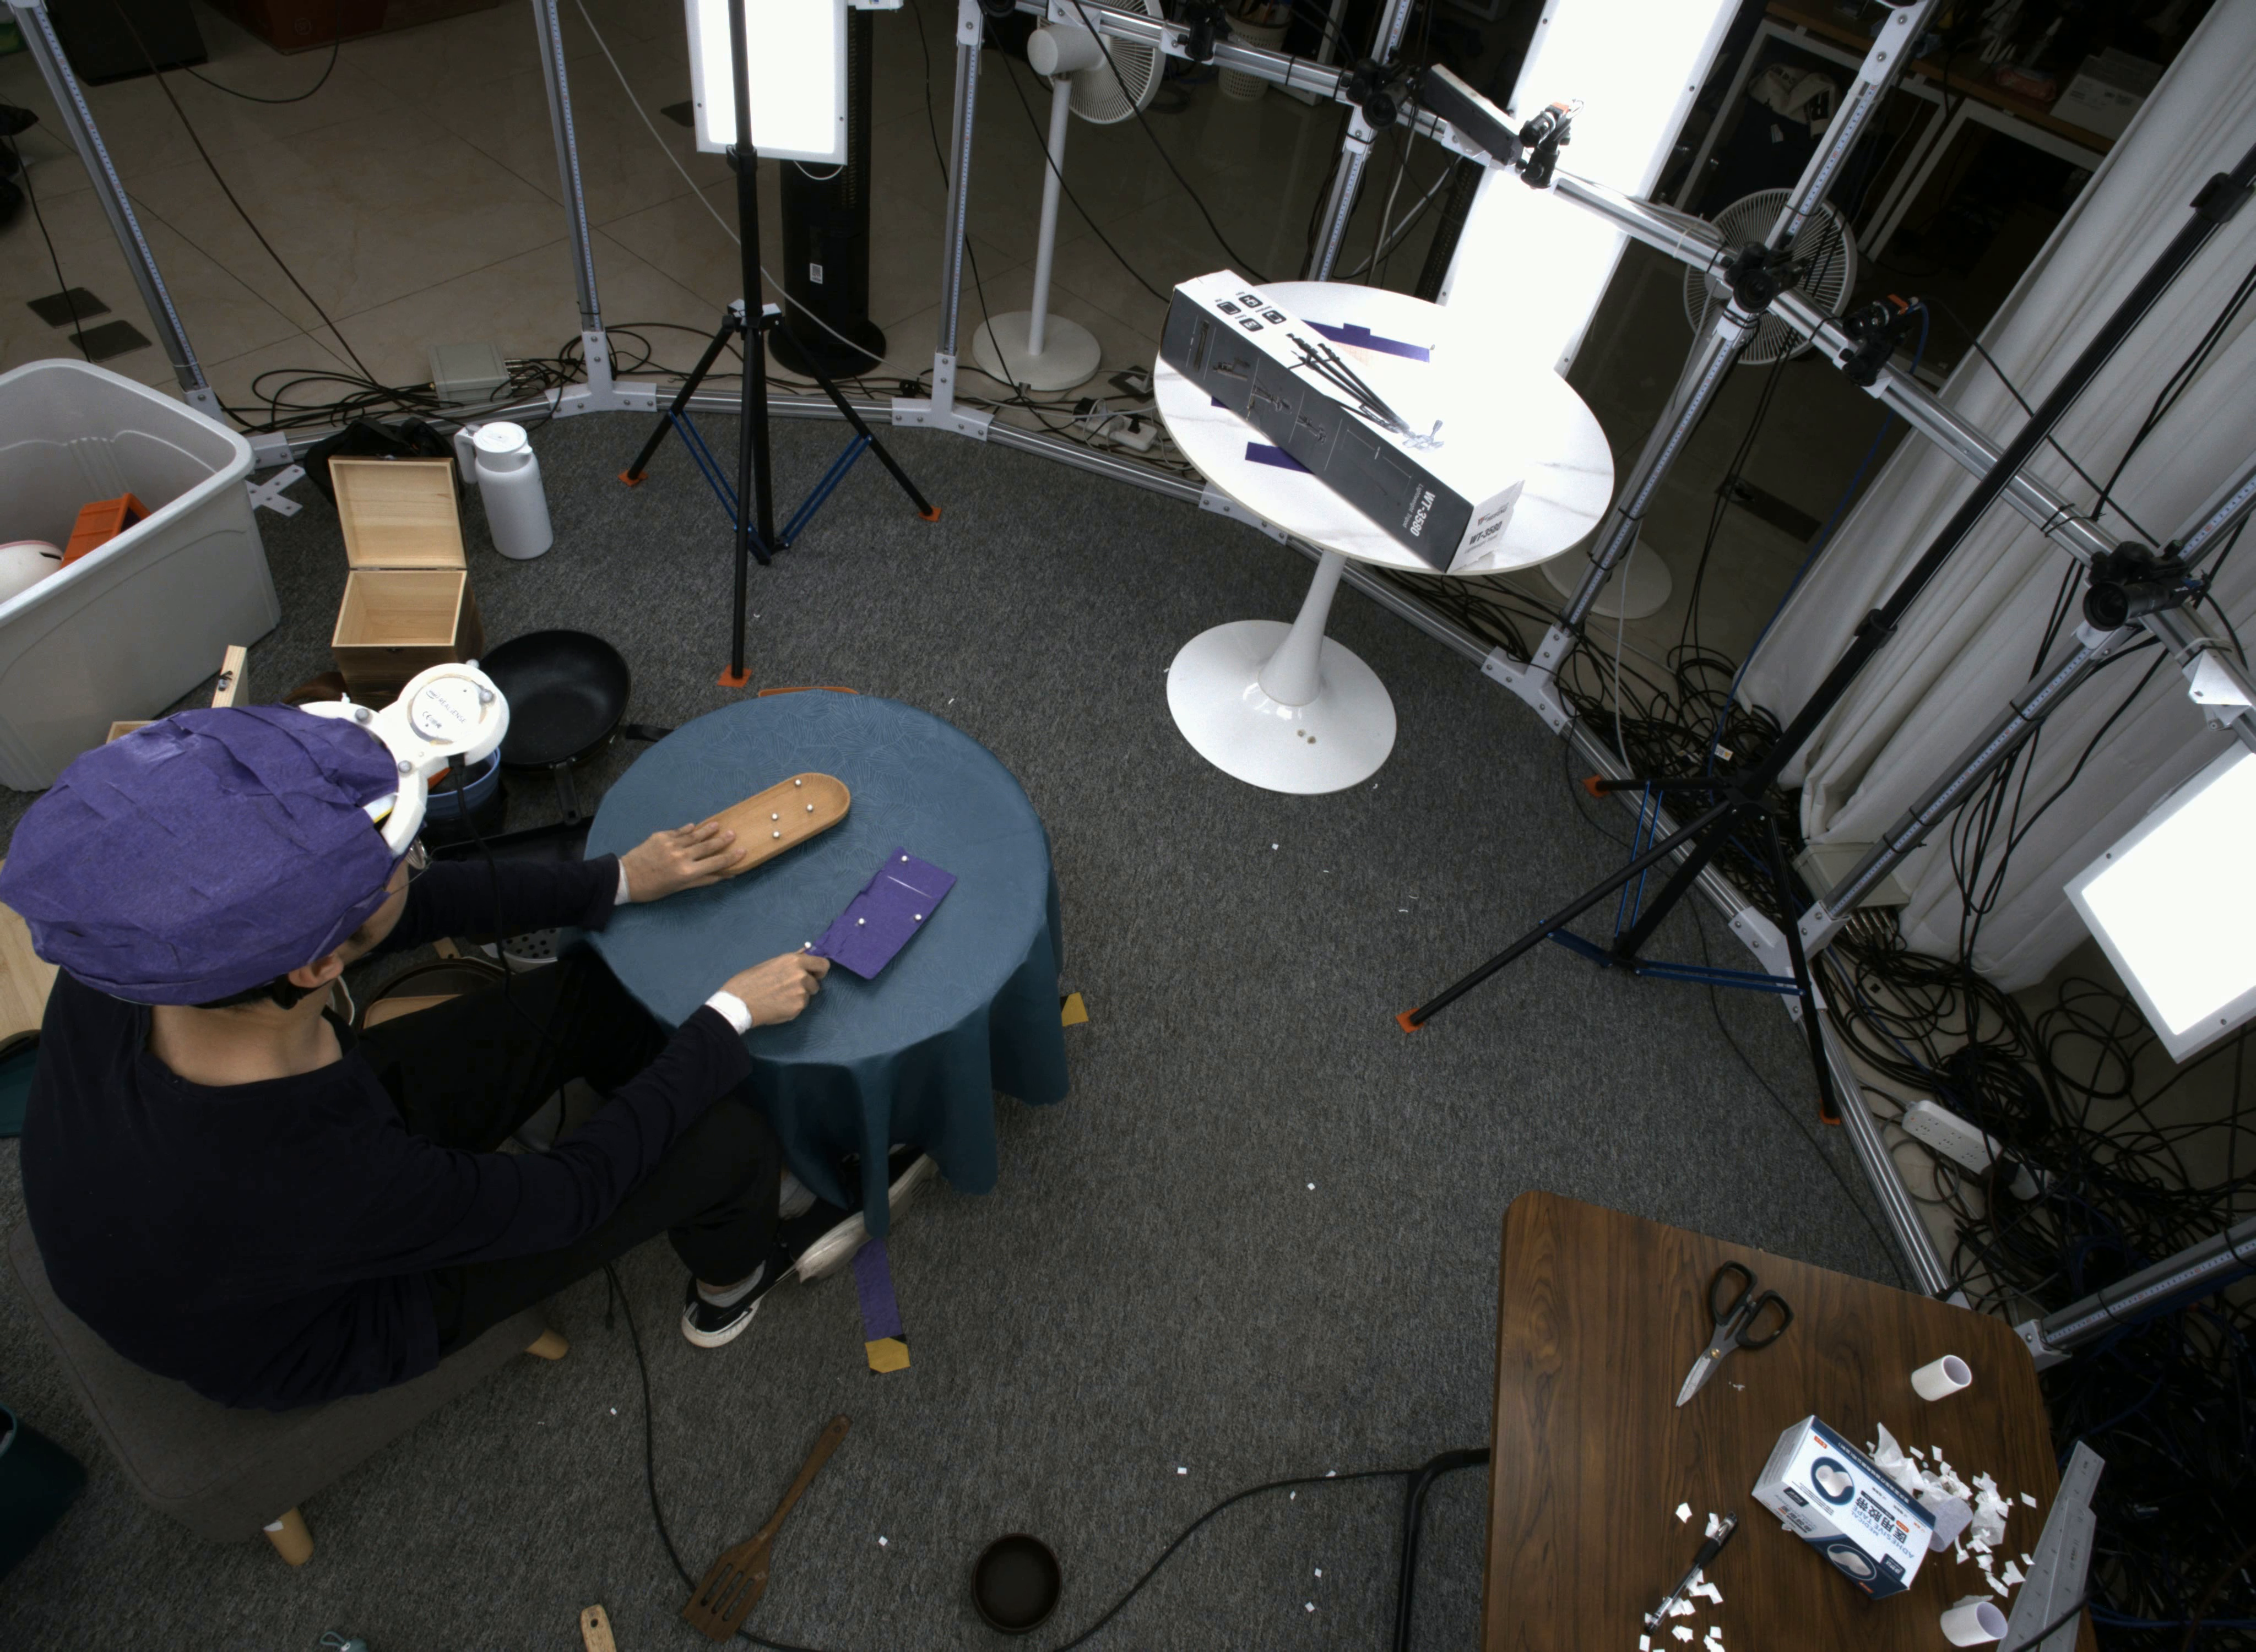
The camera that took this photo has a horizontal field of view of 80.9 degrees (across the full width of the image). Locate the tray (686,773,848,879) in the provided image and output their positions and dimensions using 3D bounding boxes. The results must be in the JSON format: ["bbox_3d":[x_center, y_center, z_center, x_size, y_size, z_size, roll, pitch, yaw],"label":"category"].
[{"bbox_3d":[-0.472,-0.003,1.704,0.098,0.021,0.232,39,53,24],"label":"tray"}]

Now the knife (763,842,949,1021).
[{"bbox_3d":[-0.330,0.134,1.629,0.102,0.033,0.313,26,48,8],"label":"knife"}]
